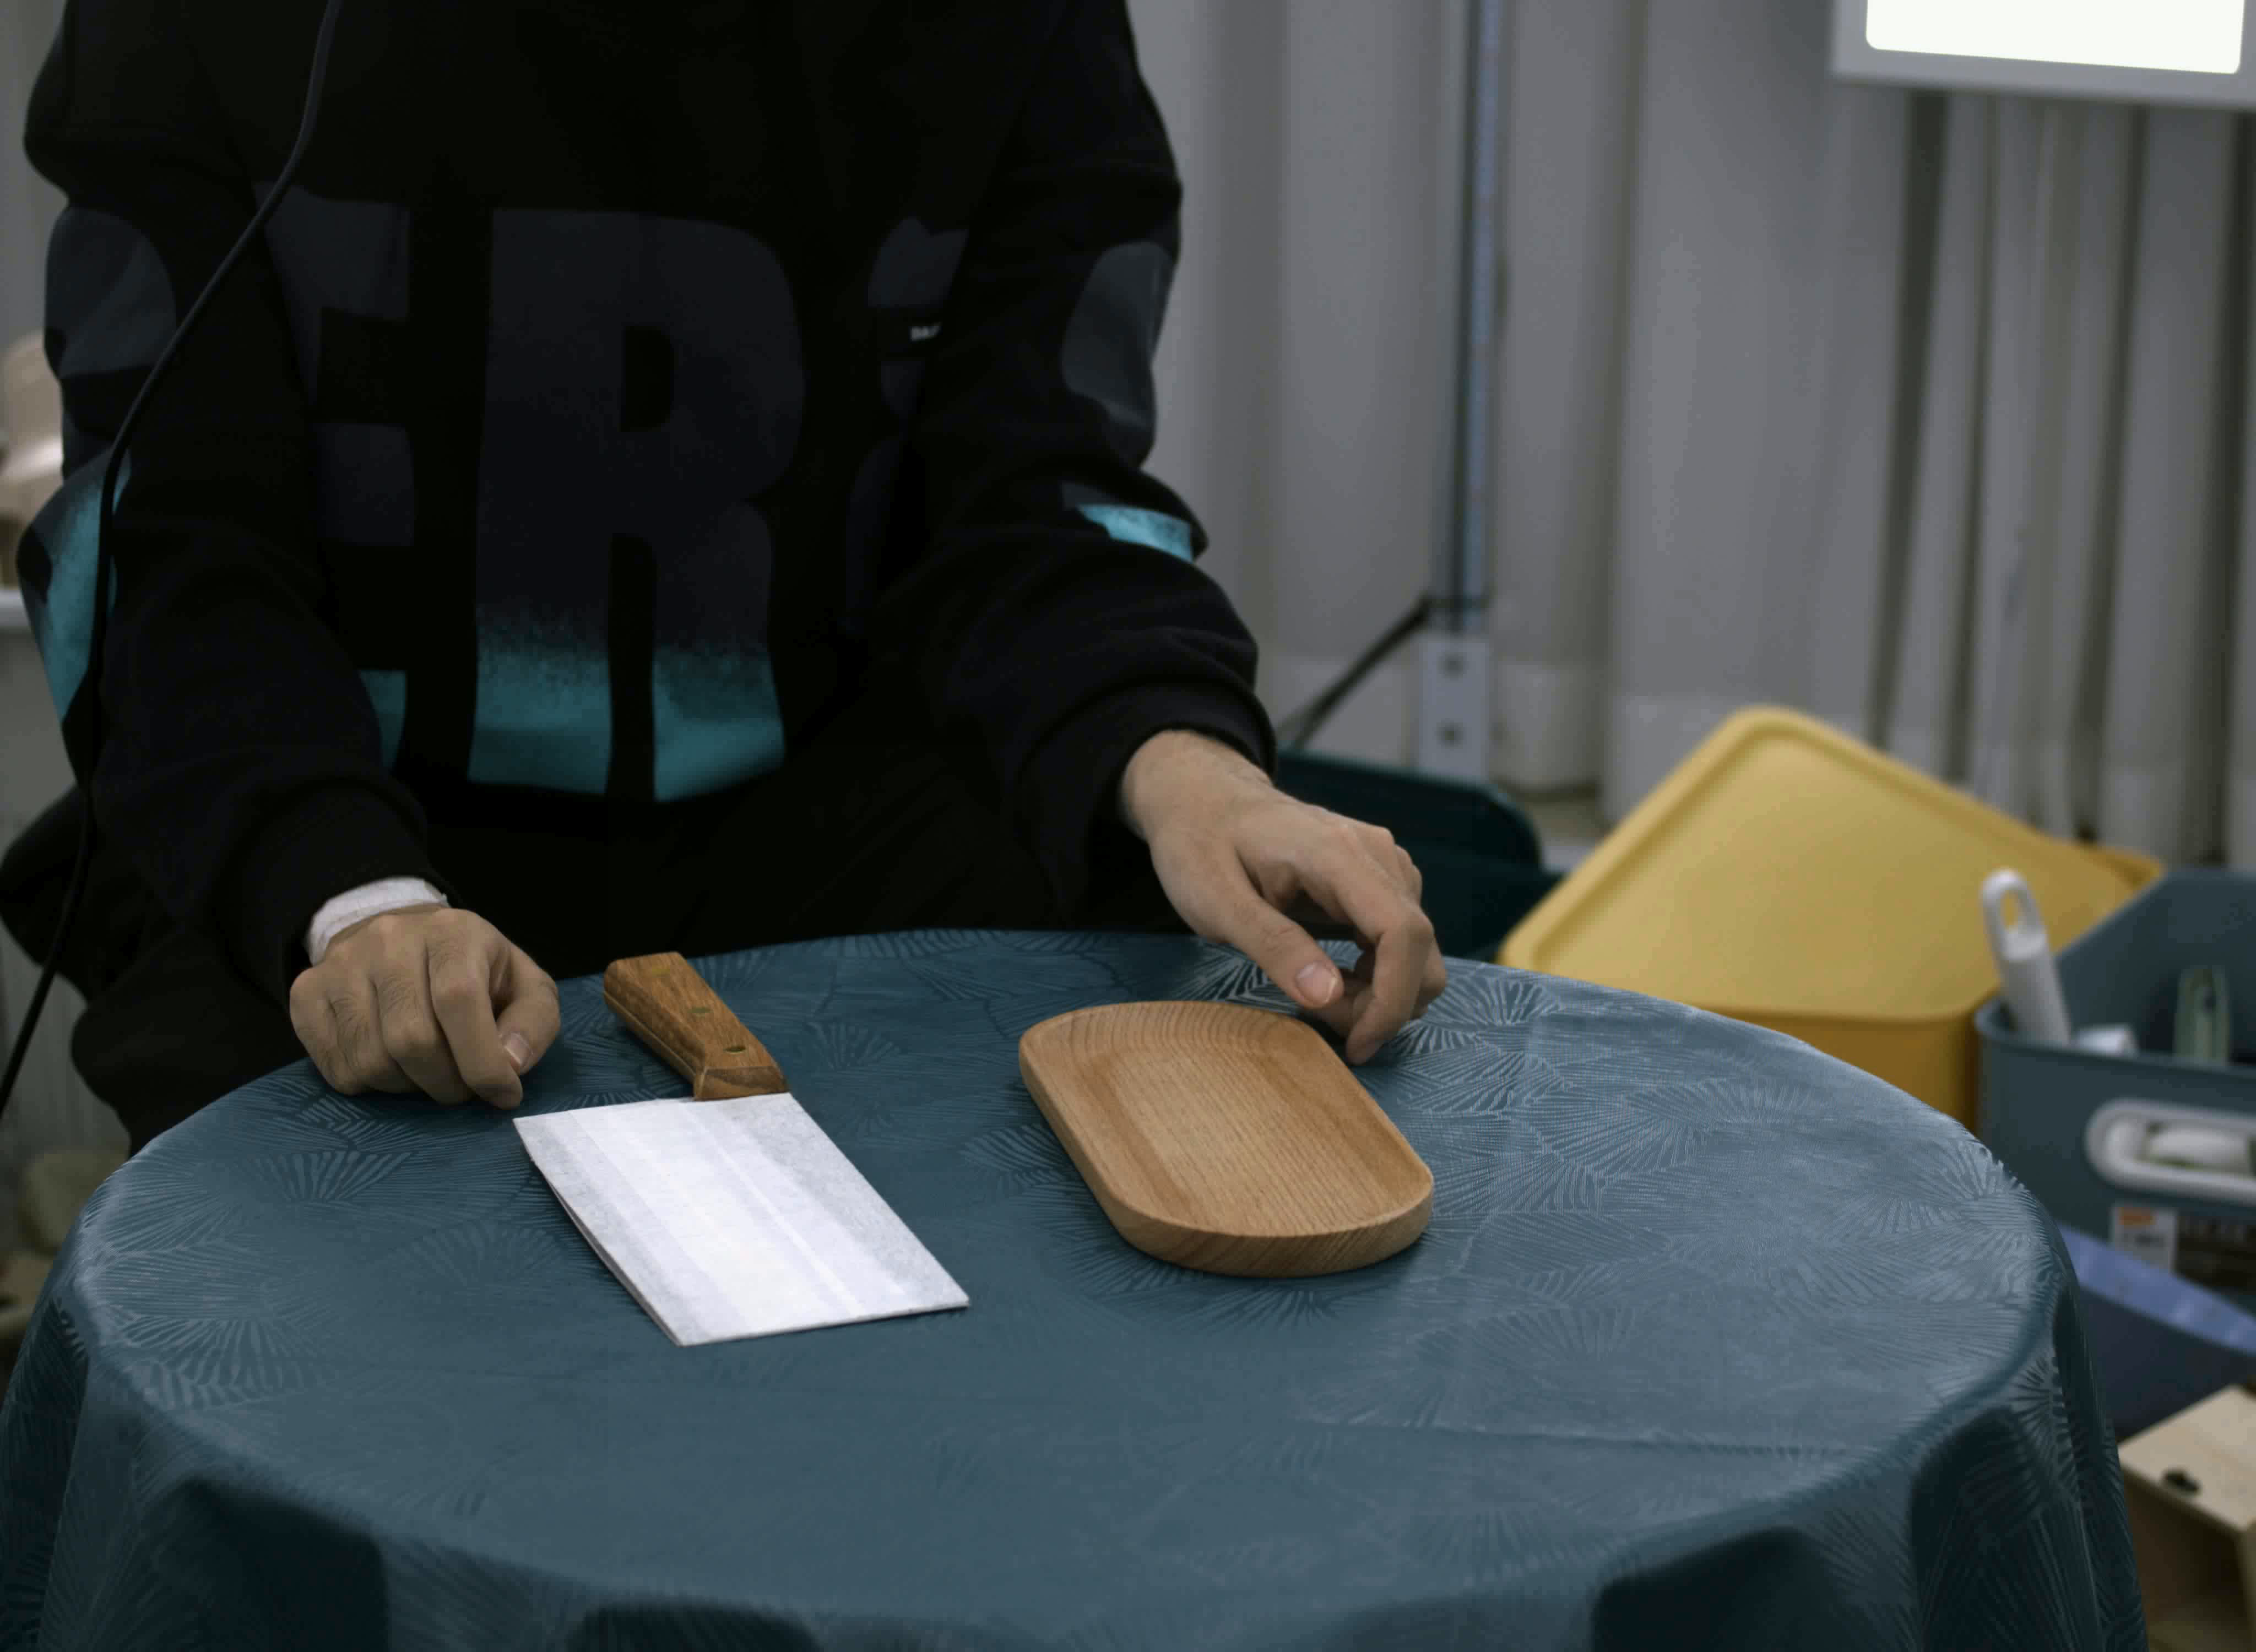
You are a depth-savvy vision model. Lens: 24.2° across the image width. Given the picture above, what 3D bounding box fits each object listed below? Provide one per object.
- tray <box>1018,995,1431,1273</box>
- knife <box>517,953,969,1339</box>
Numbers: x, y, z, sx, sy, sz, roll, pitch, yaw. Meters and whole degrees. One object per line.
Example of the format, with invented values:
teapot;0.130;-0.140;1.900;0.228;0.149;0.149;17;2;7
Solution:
tray;0.028;0.094;1.656;0.102;0.020;0.229;-2;15;-12
knife;-0.138;0.098;1.640;0.093;0.021;0.302;-7;19;-19
